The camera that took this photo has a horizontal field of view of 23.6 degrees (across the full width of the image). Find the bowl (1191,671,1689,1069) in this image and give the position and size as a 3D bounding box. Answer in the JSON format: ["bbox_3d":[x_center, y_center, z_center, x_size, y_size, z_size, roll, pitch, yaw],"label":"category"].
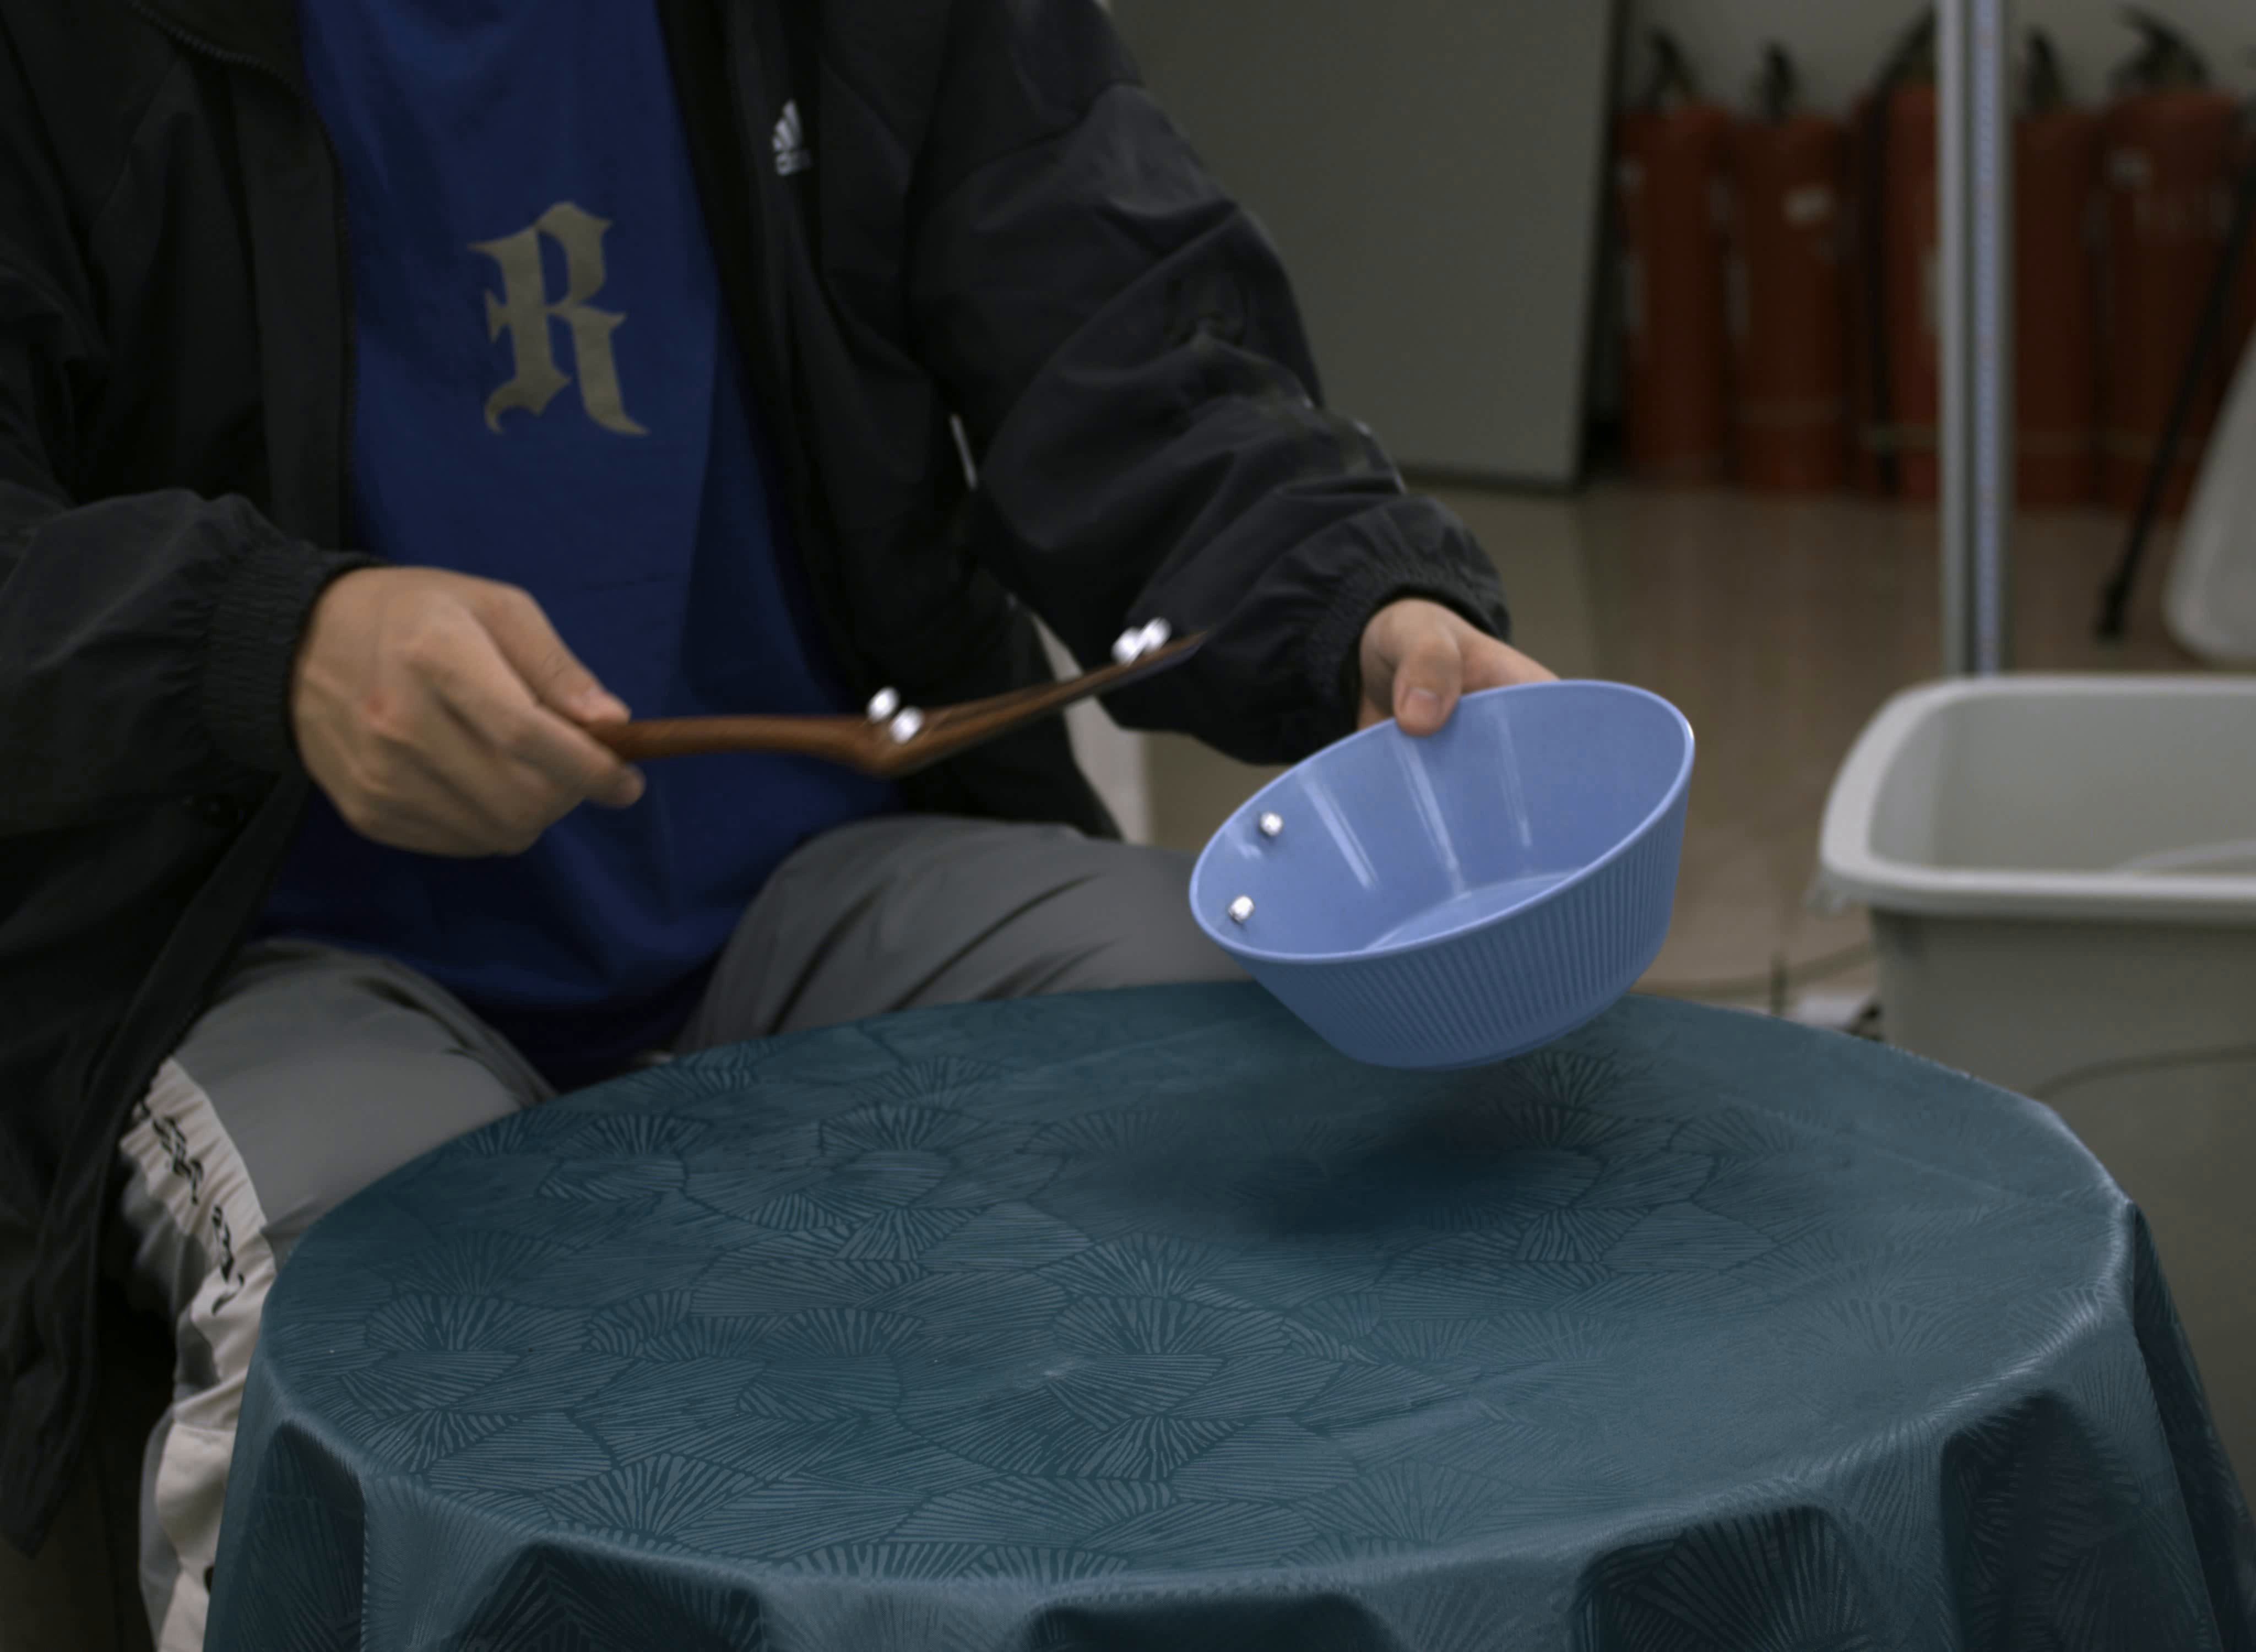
[{"bbox_3d":[0.112,0.022,1.780,0.175,0.070,0.176,-20,22,8],"label":"bowl"}]

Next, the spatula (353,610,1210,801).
[{"bbox_3d":[-0.128,-0.031,1.746,0.390,0.024,0.084,-6,11,45],"label":"spatula"}]
